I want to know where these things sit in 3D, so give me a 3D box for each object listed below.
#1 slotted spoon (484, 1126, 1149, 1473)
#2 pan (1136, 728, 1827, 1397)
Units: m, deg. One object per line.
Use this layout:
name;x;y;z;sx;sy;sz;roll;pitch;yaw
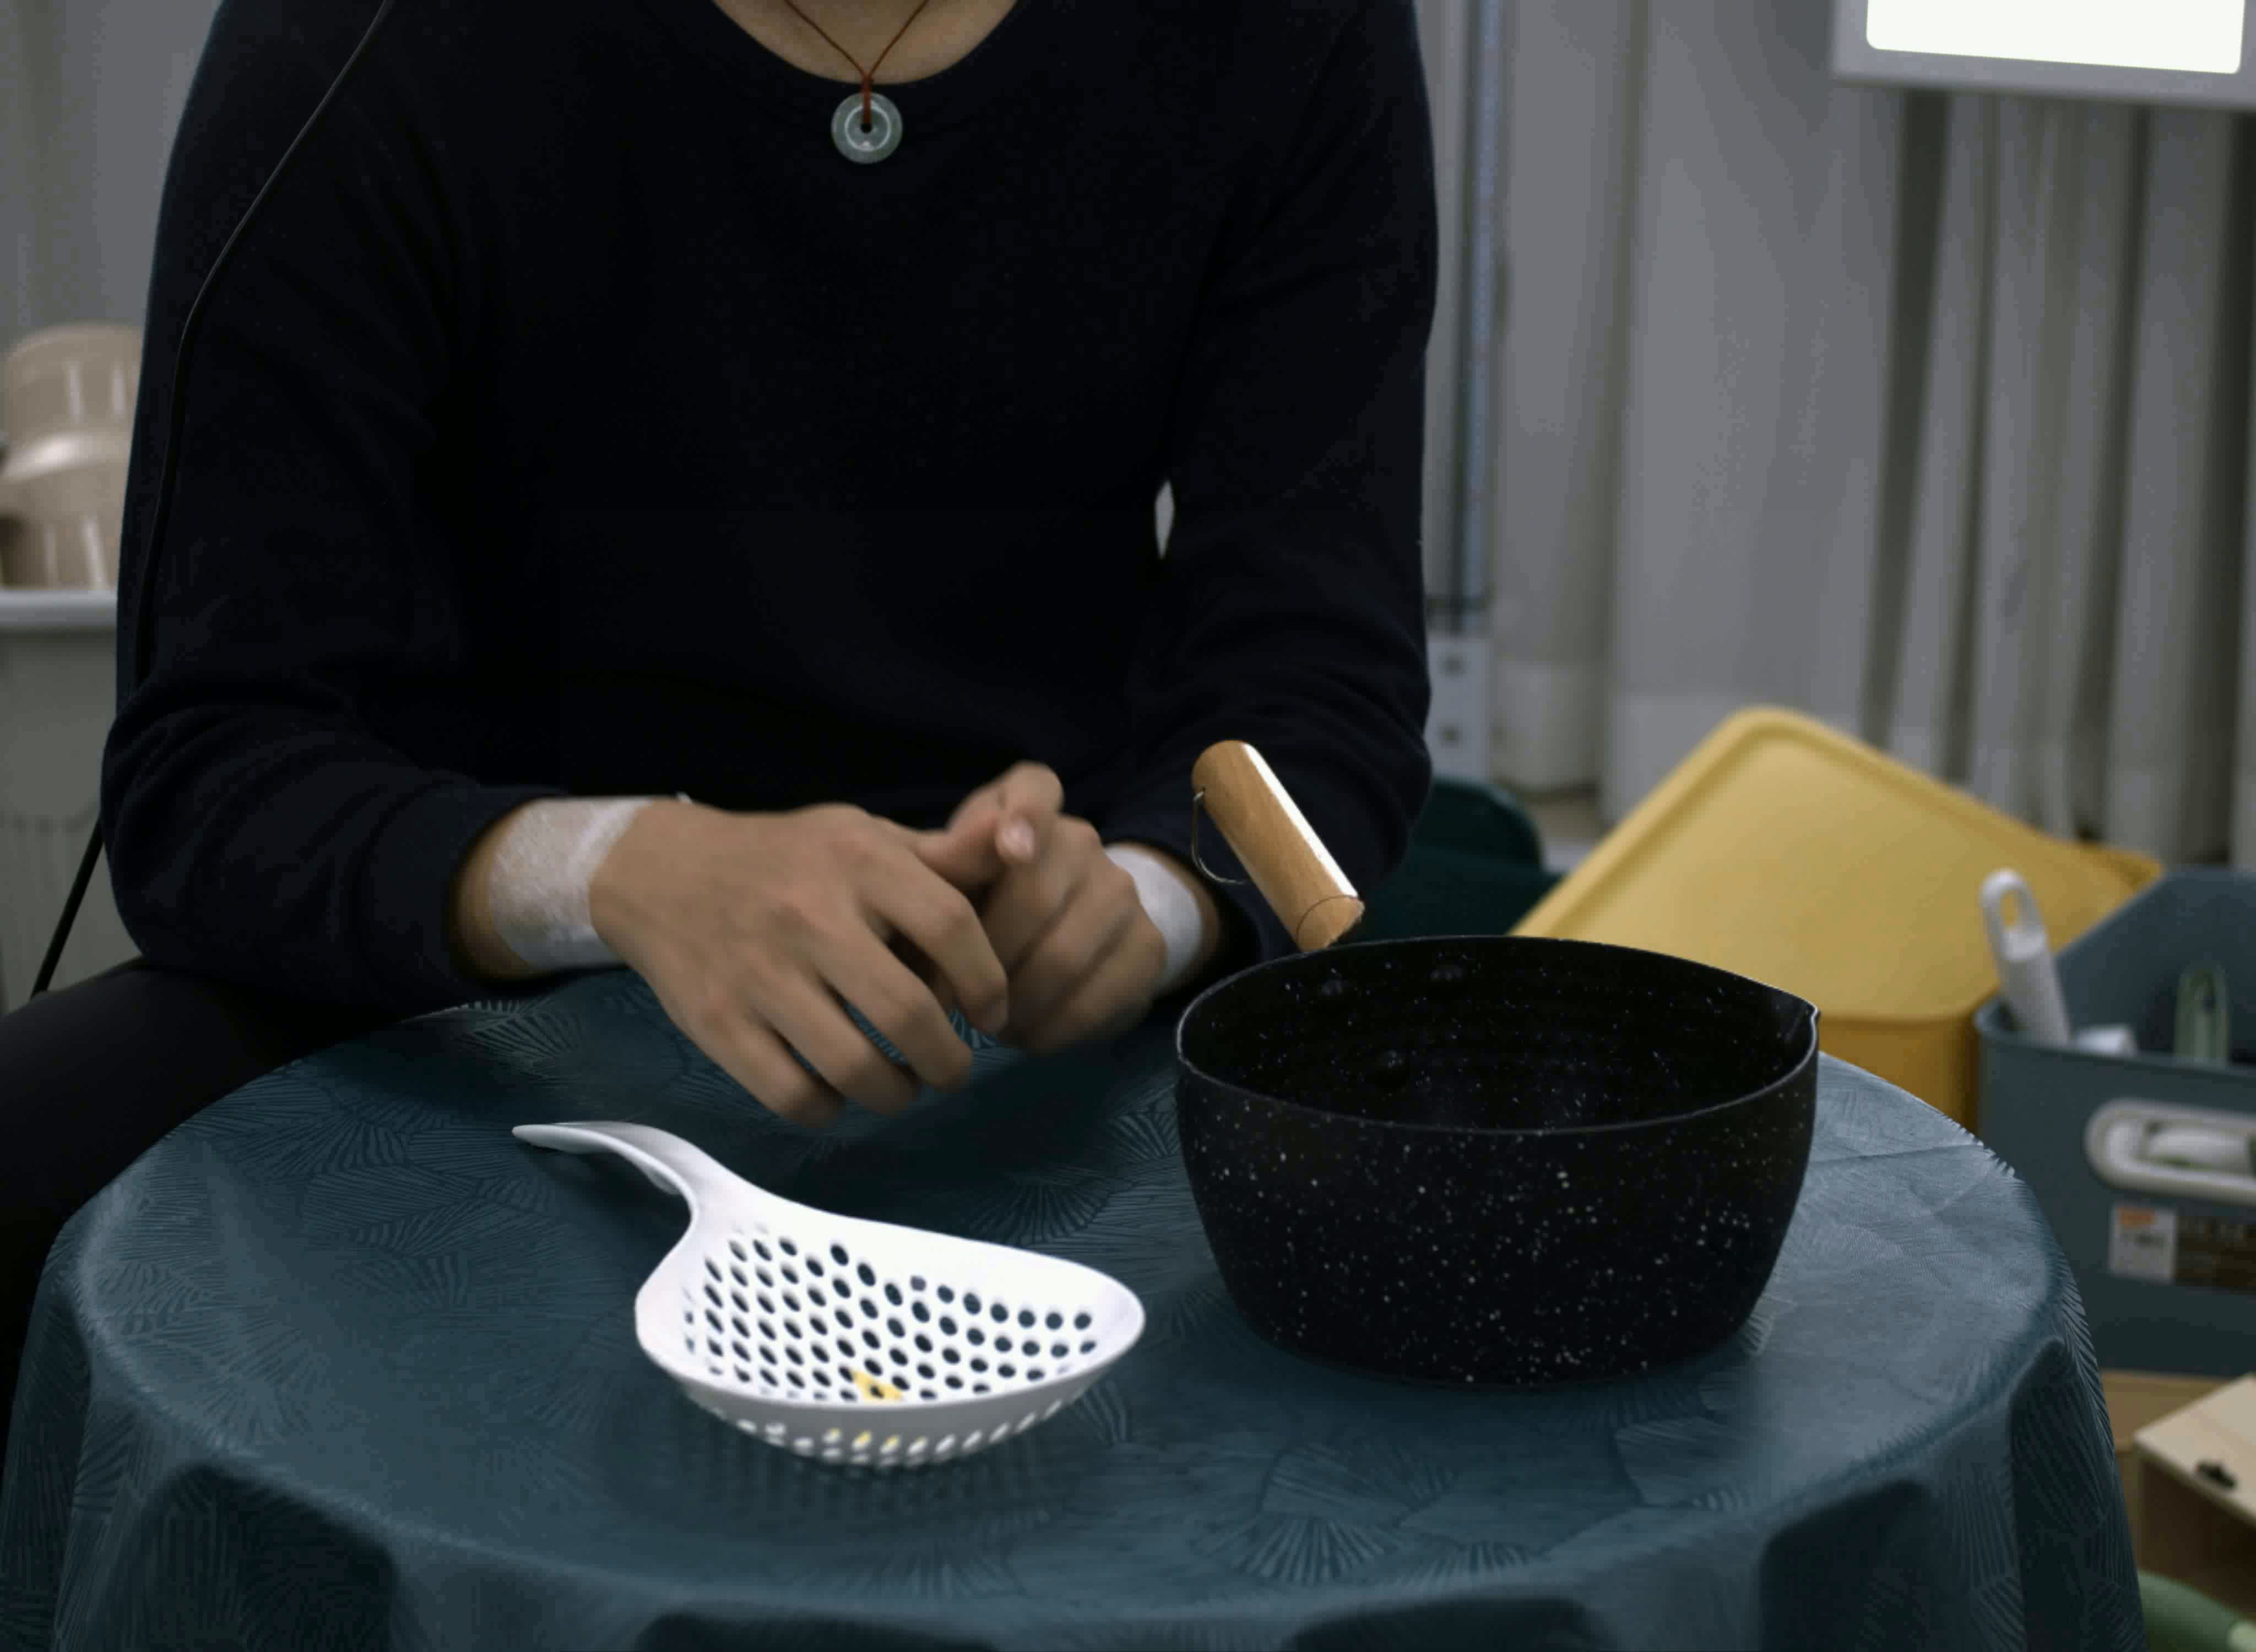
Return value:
slotted spoon;-0.113;0.121;1.508;0.137;0.051;0.343;-9;20;-26
pan;0.081;0.066;1.589;0.208;0.109;0.339;-6;18;-18
